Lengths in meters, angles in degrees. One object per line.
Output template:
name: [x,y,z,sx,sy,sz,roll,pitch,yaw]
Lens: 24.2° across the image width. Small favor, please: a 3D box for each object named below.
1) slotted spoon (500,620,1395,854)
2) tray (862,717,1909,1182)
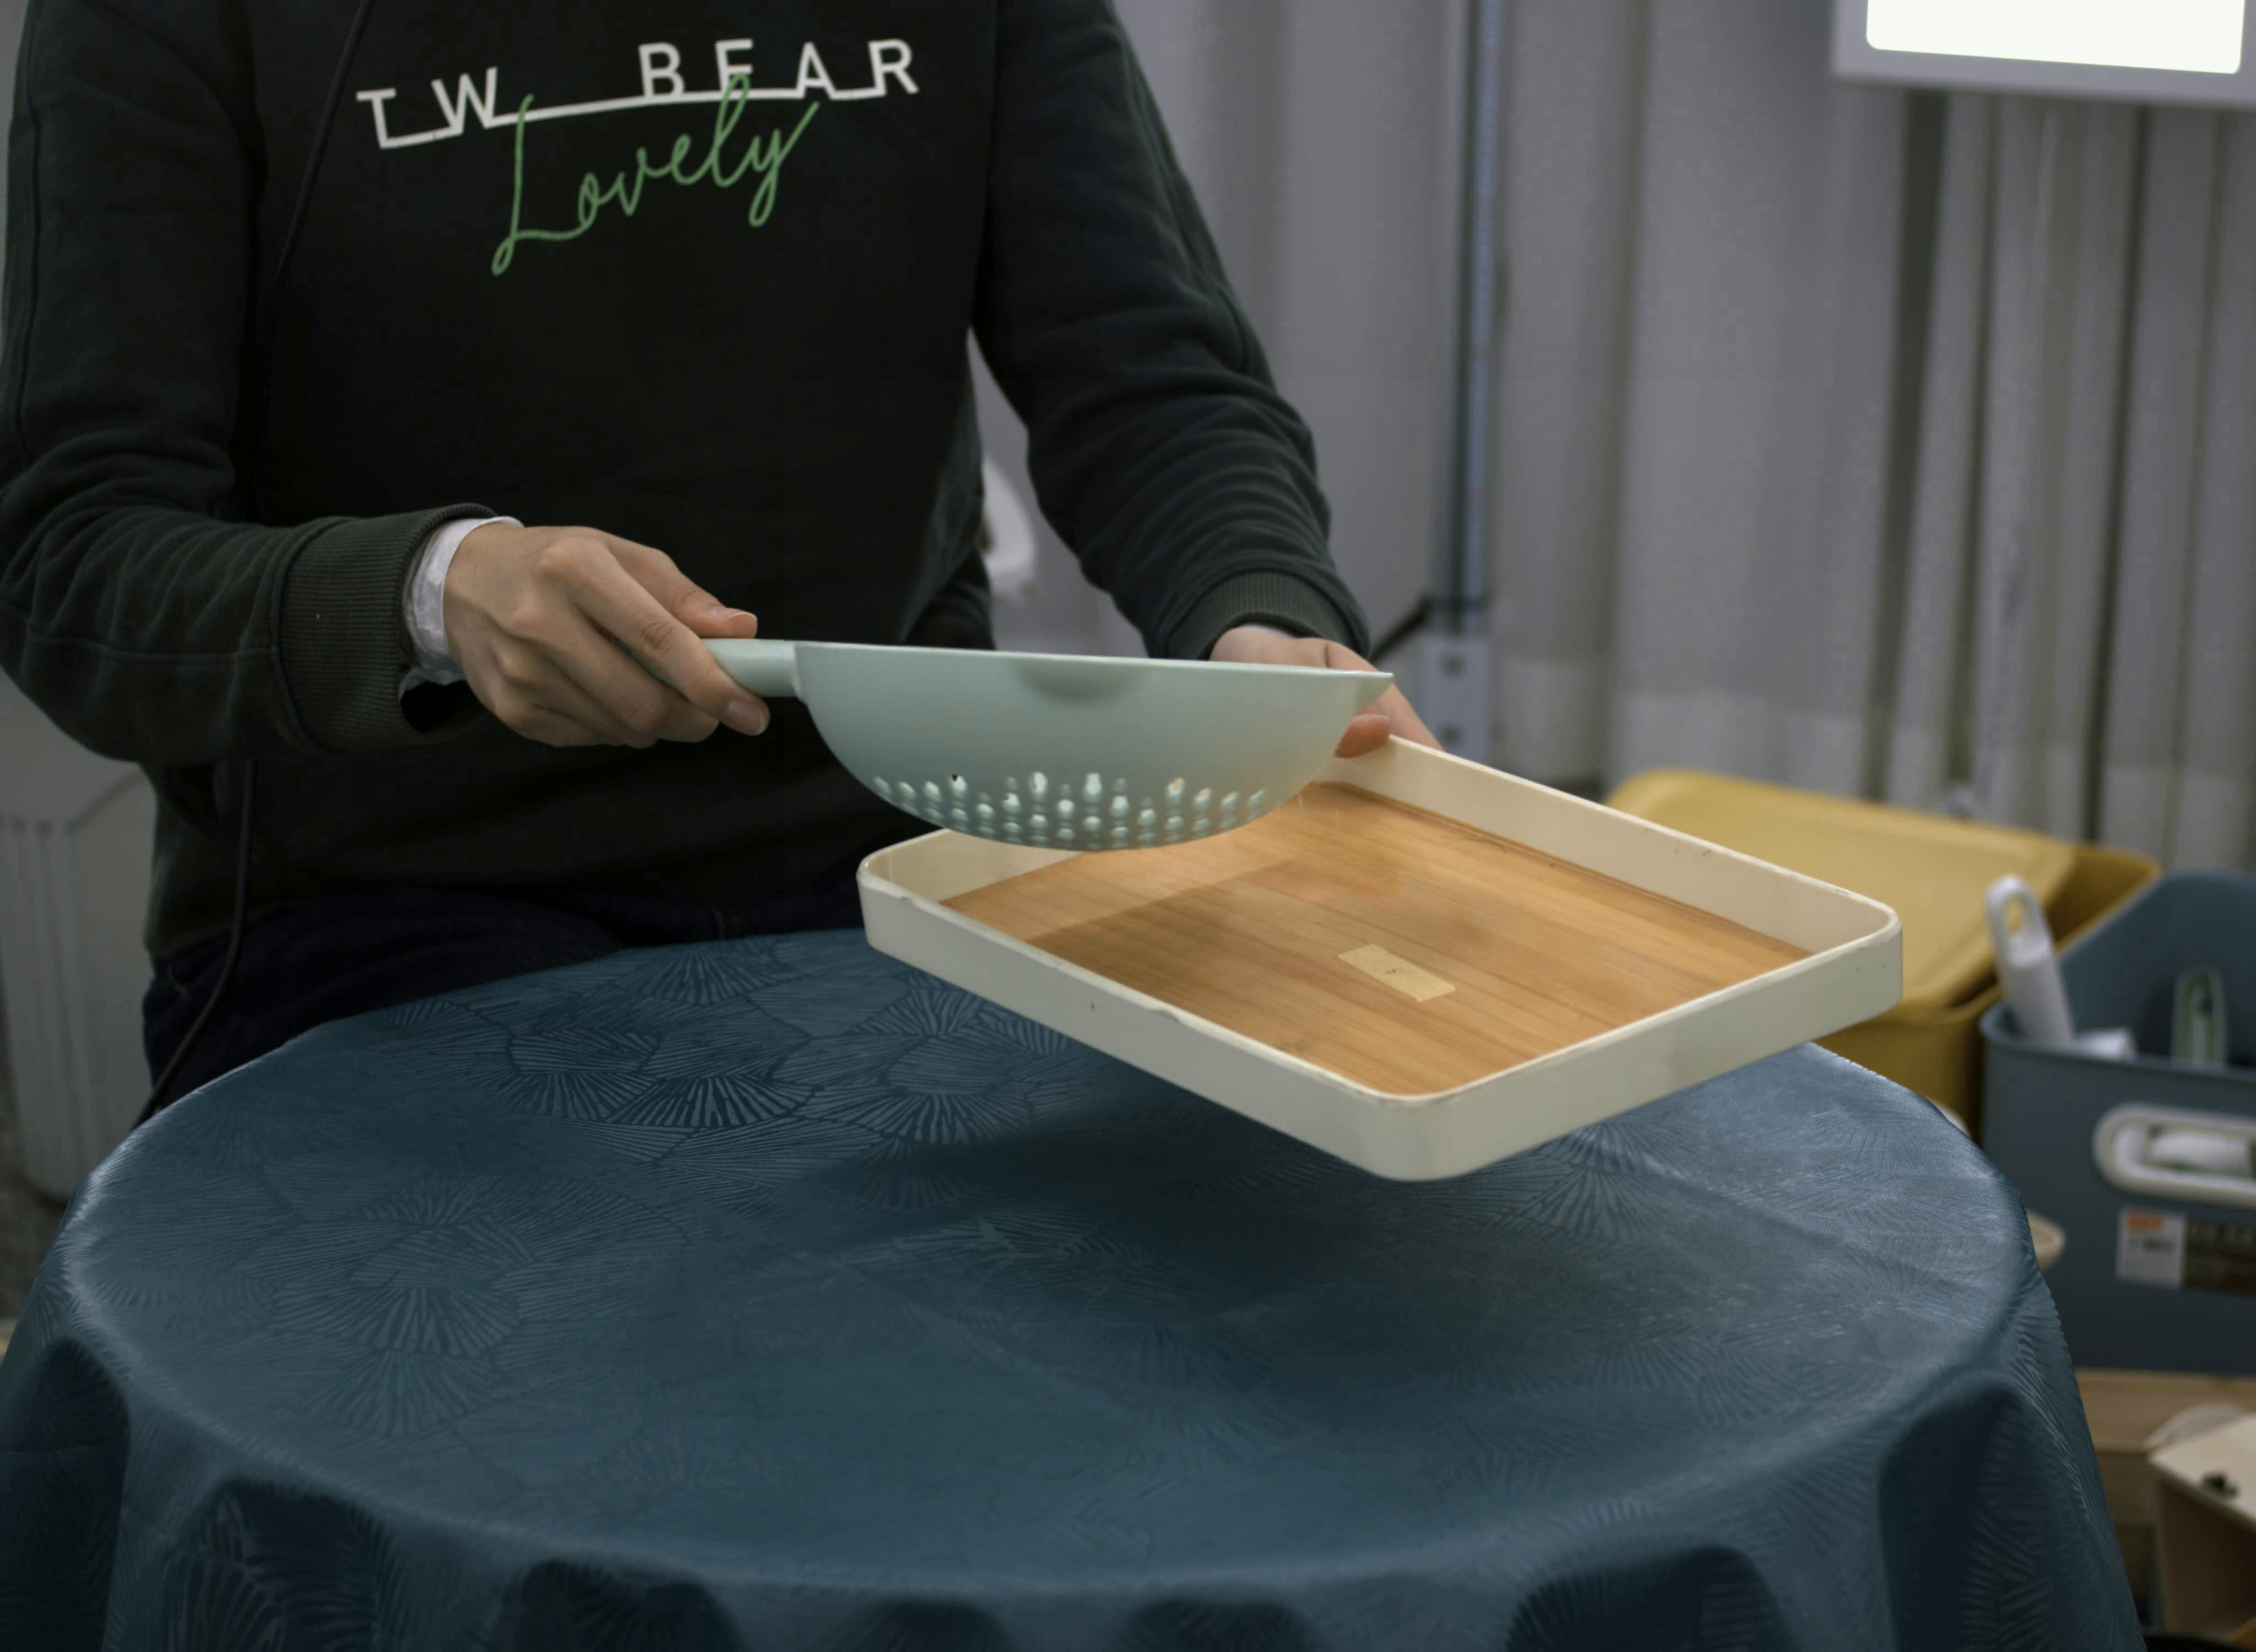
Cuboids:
slotted spoon: [-0.082,-0.043,1.624,0.171,0.076,0.354,3,10,-44]
tray: [0.072,0.031,1.586,0.192,0.027,0.296,-18,23,-31]
